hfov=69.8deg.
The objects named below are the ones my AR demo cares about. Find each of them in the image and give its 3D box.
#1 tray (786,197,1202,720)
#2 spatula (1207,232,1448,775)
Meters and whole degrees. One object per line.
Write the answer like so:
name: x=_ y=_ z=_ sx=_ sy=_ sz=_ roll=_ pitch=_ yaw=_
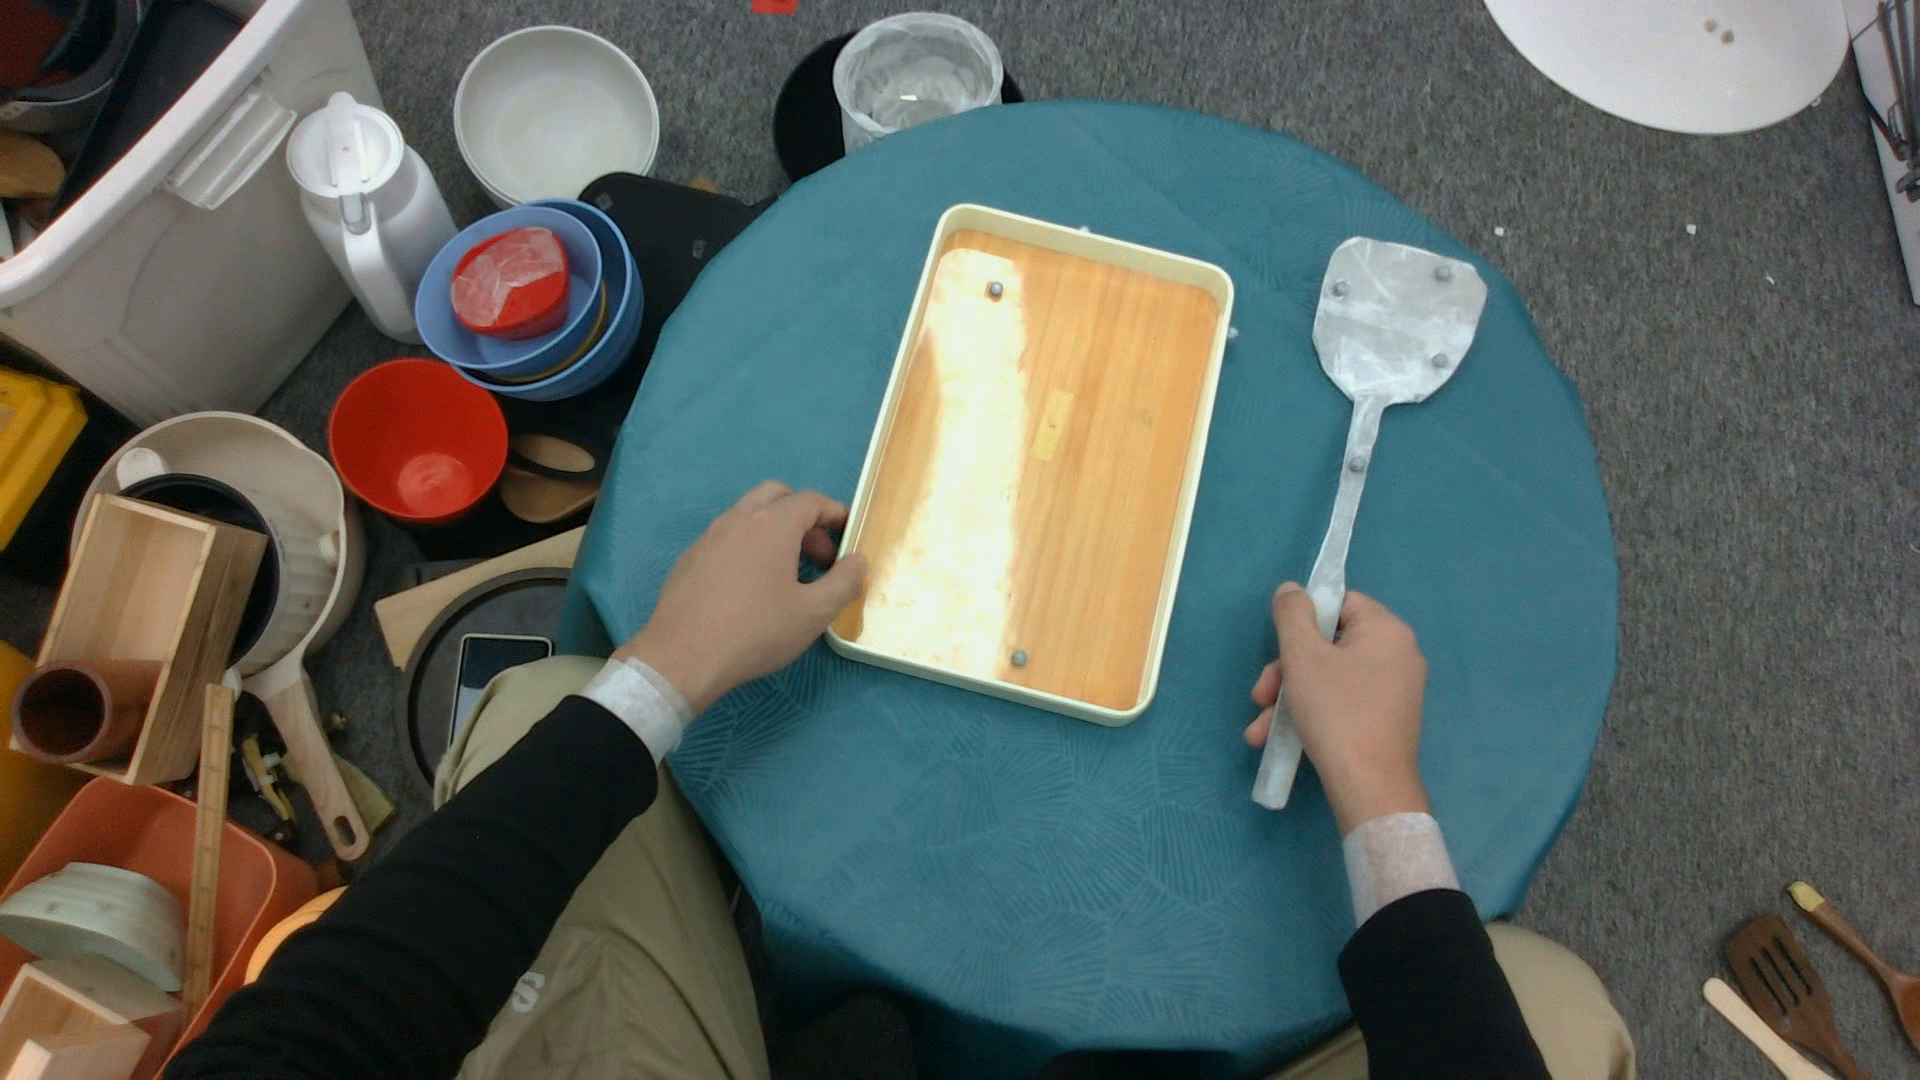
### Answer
tray: x=0.027 y=-0.057 z=0.814 sx=0.191 sy=0.027 sz=0.301 roll=15 pitch=68 yaw=0
spatula: x=0.205 y=-0.030 z=0.805 sx=0.098 sy=0.044 sz=0.366 roll=19 pitch=62 yaw=5
